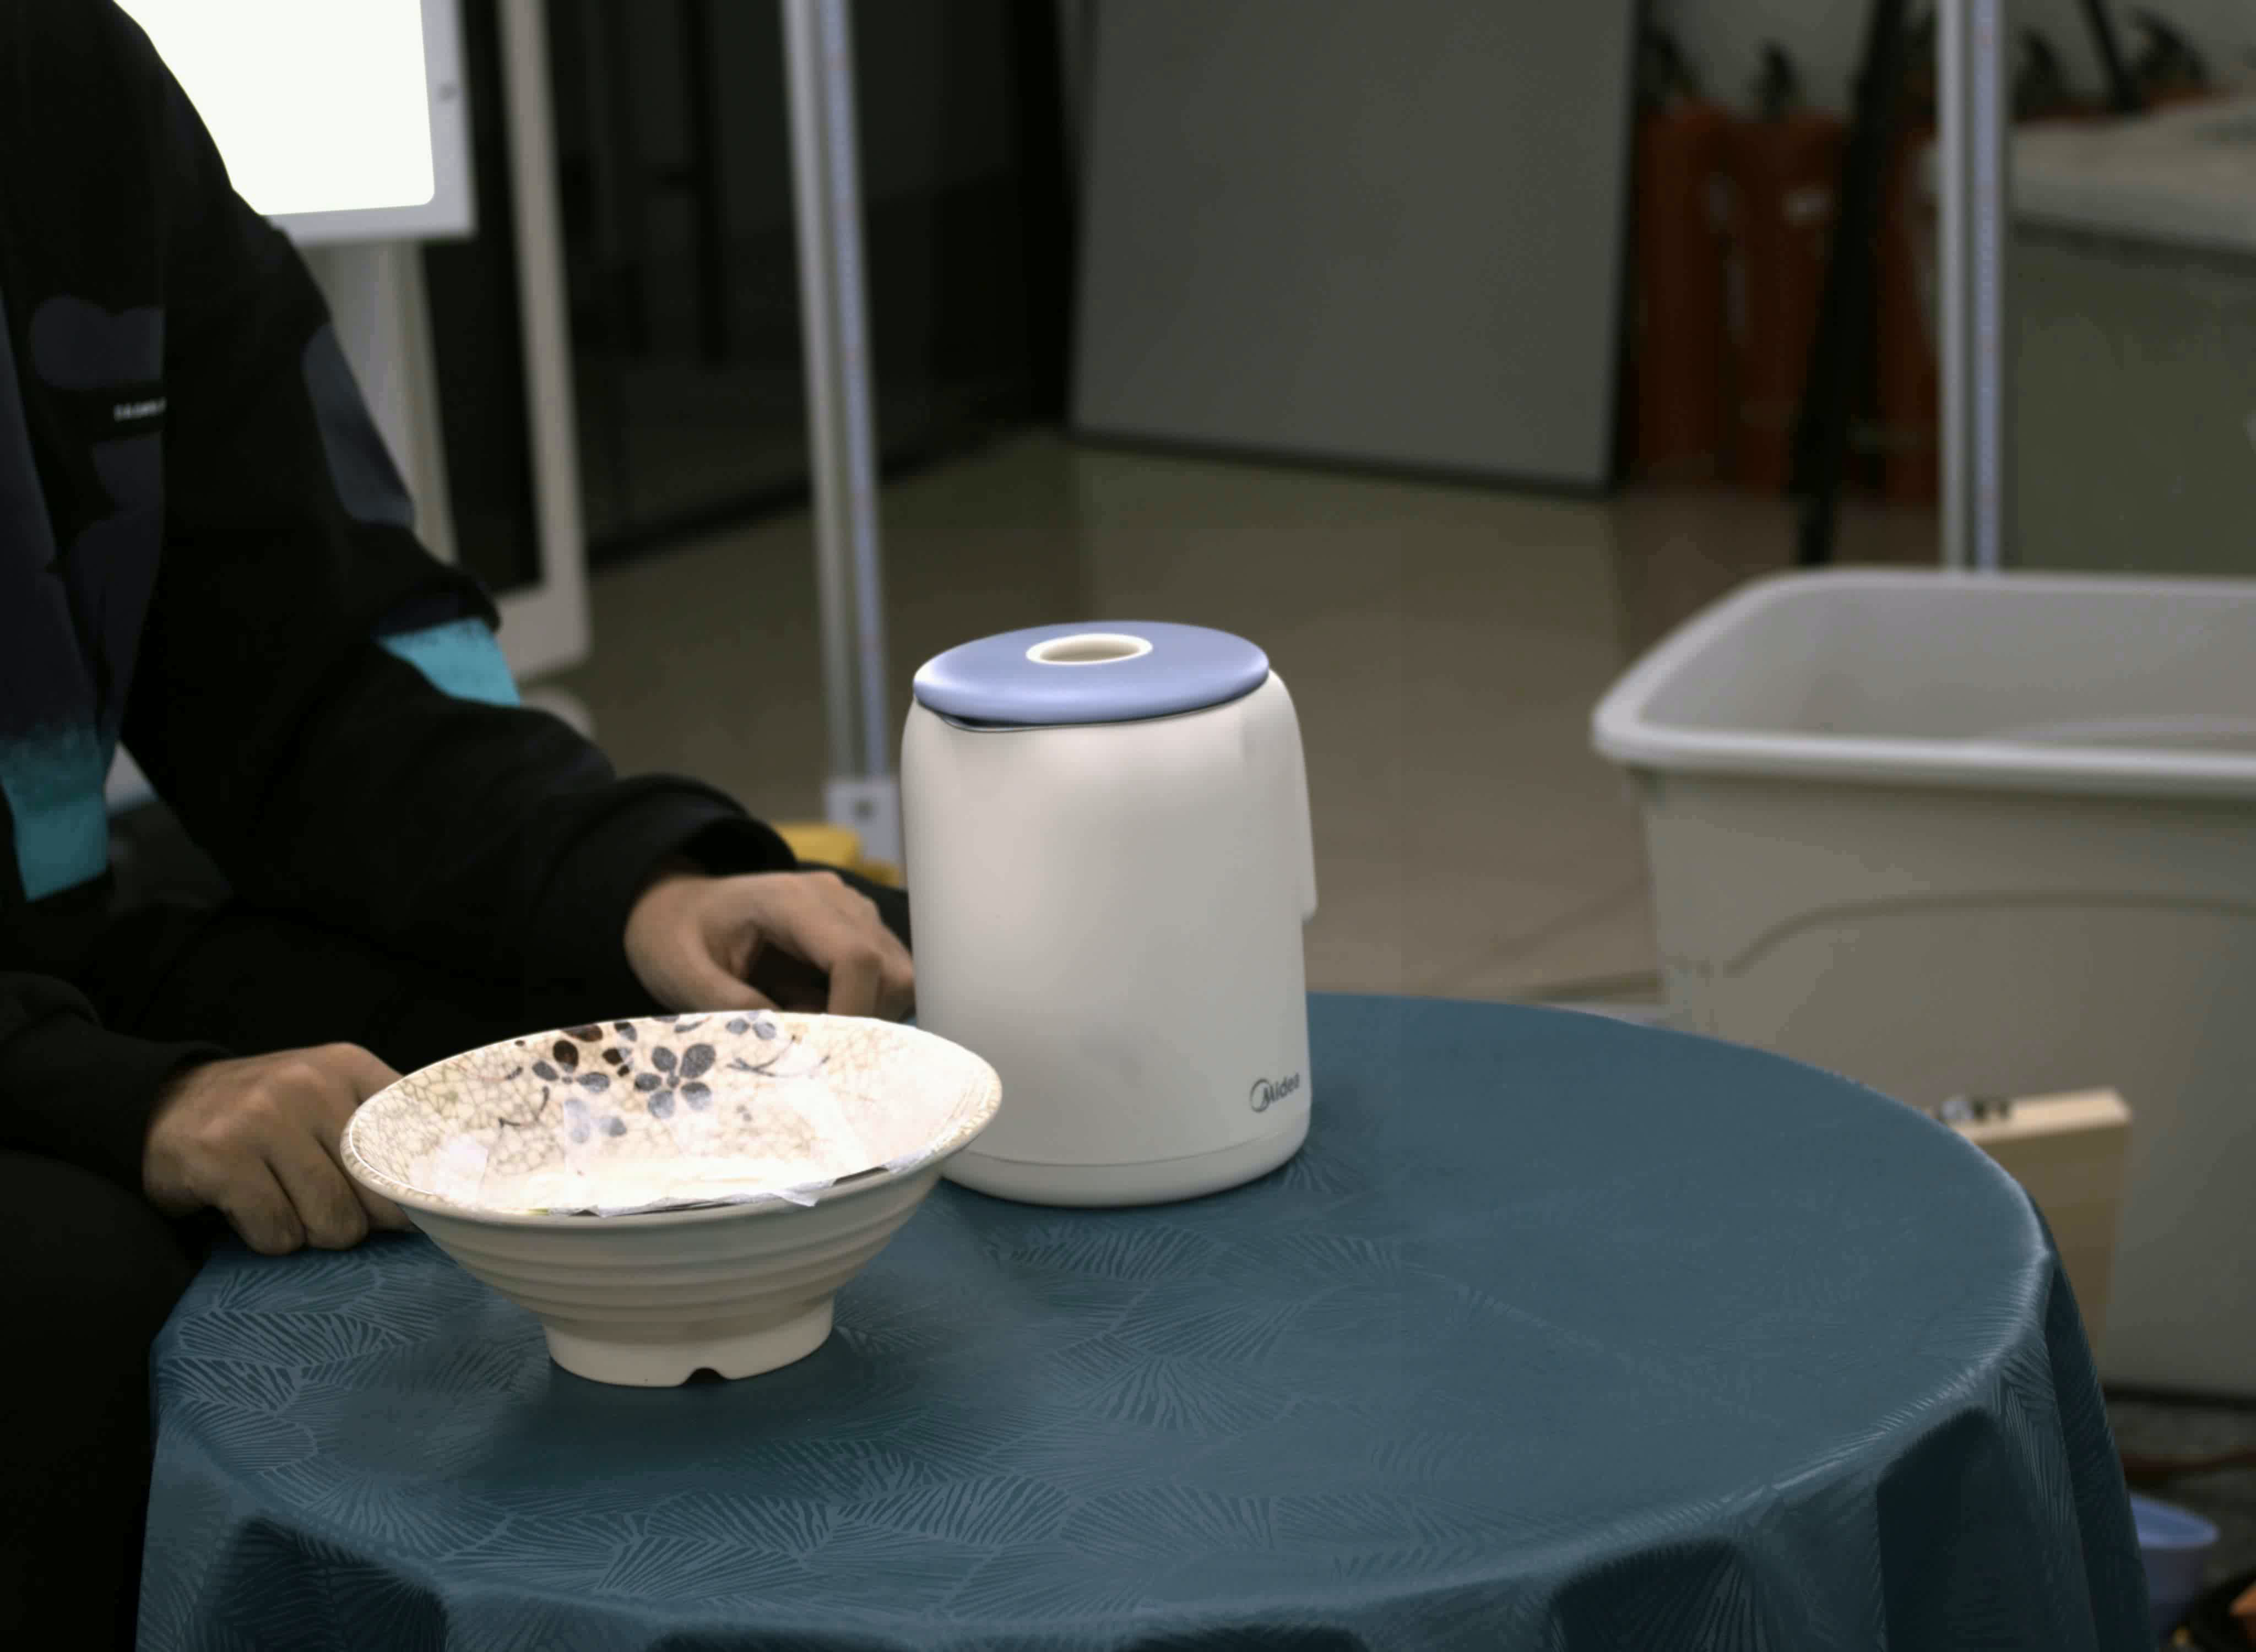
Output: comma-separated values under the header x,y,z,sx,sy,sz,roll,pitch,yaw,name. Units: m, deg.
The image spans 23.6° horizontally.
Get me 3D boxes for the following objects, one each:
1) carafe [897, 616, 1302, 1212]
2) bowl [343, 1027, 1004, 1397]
x,y,z,sx,sy,sz,roll,pitch,yaw,name
0.004,0.023,1.810,0.133,0.184,0.188,6,15,33,carafe
-0.134,0.123,1.647,0.201,0.079,0.204,-6,12,0,bowl
